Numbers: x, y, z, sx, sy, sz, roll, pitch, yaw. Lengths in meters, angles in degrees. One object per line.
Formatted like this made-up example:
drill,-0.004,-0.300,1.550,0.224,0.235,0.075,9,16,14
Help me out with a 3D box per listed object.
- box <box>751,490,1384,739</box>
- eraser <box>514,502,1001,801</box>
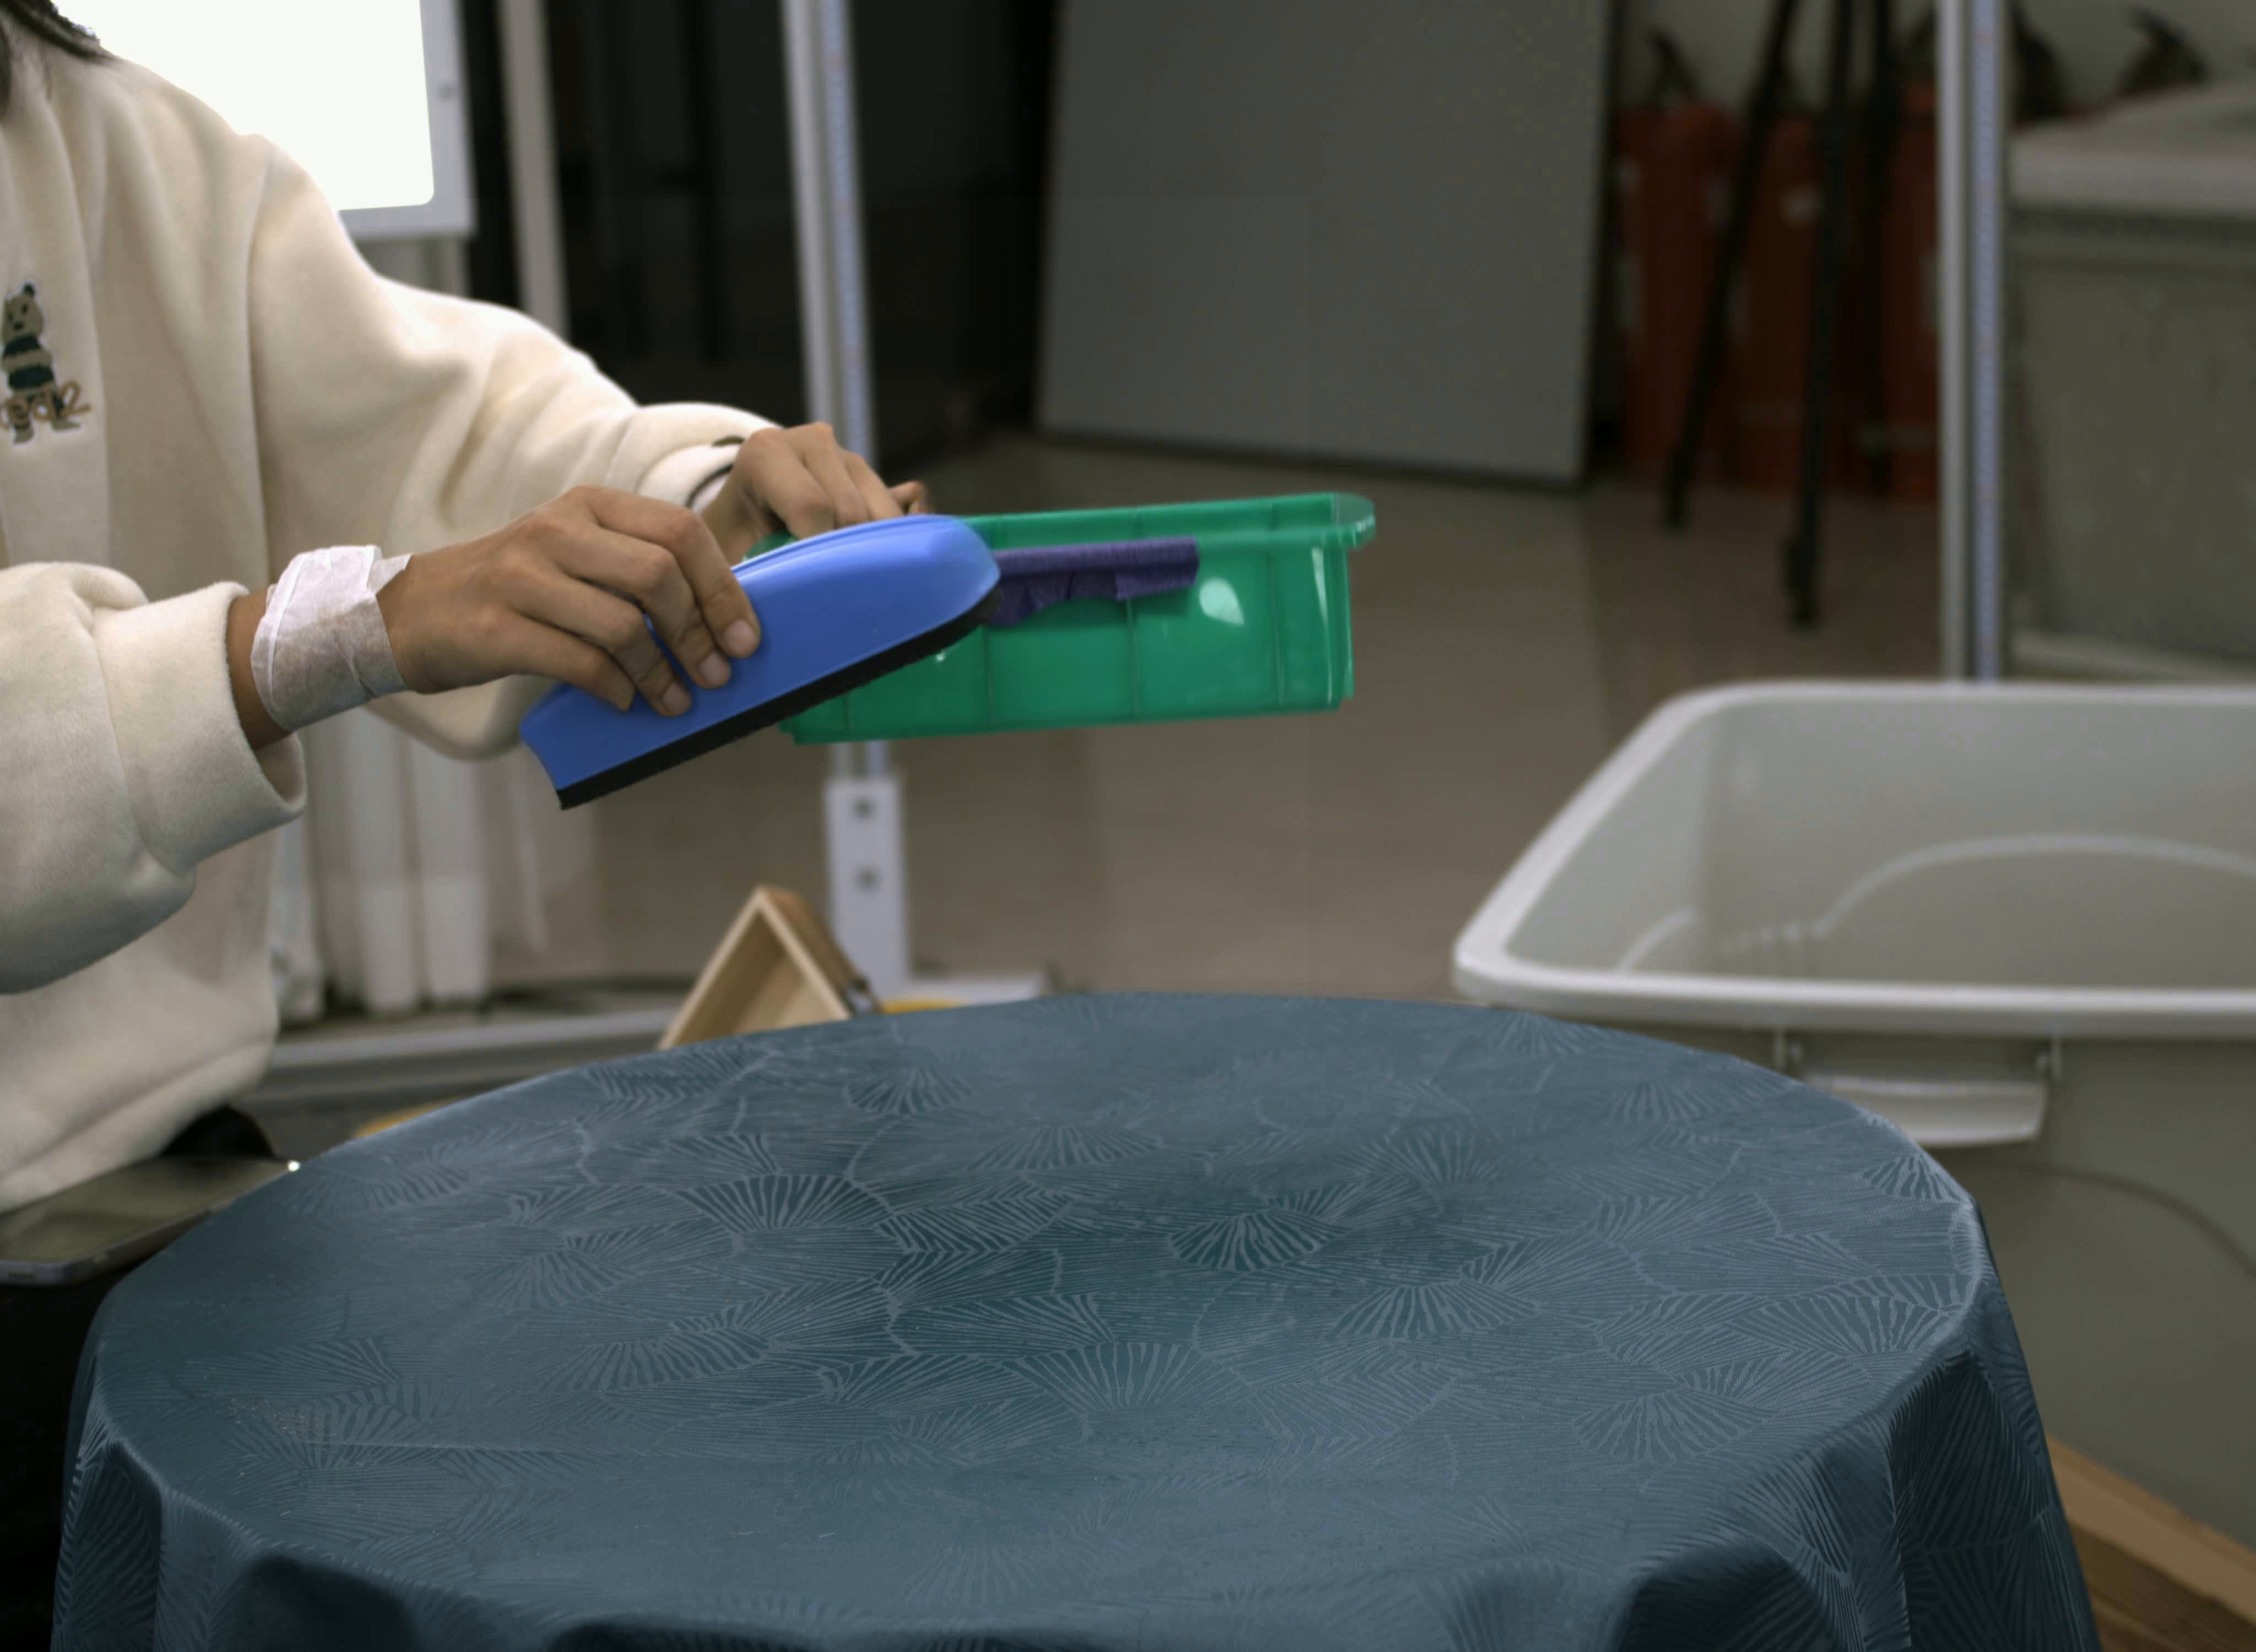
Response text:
box,-0.018,-0.070,1.793,0.208,0.066,0.138,-2,9,2
eraser,-0.119,-0.060,1.706,0.162,0.048,0.053,-23,10,18
